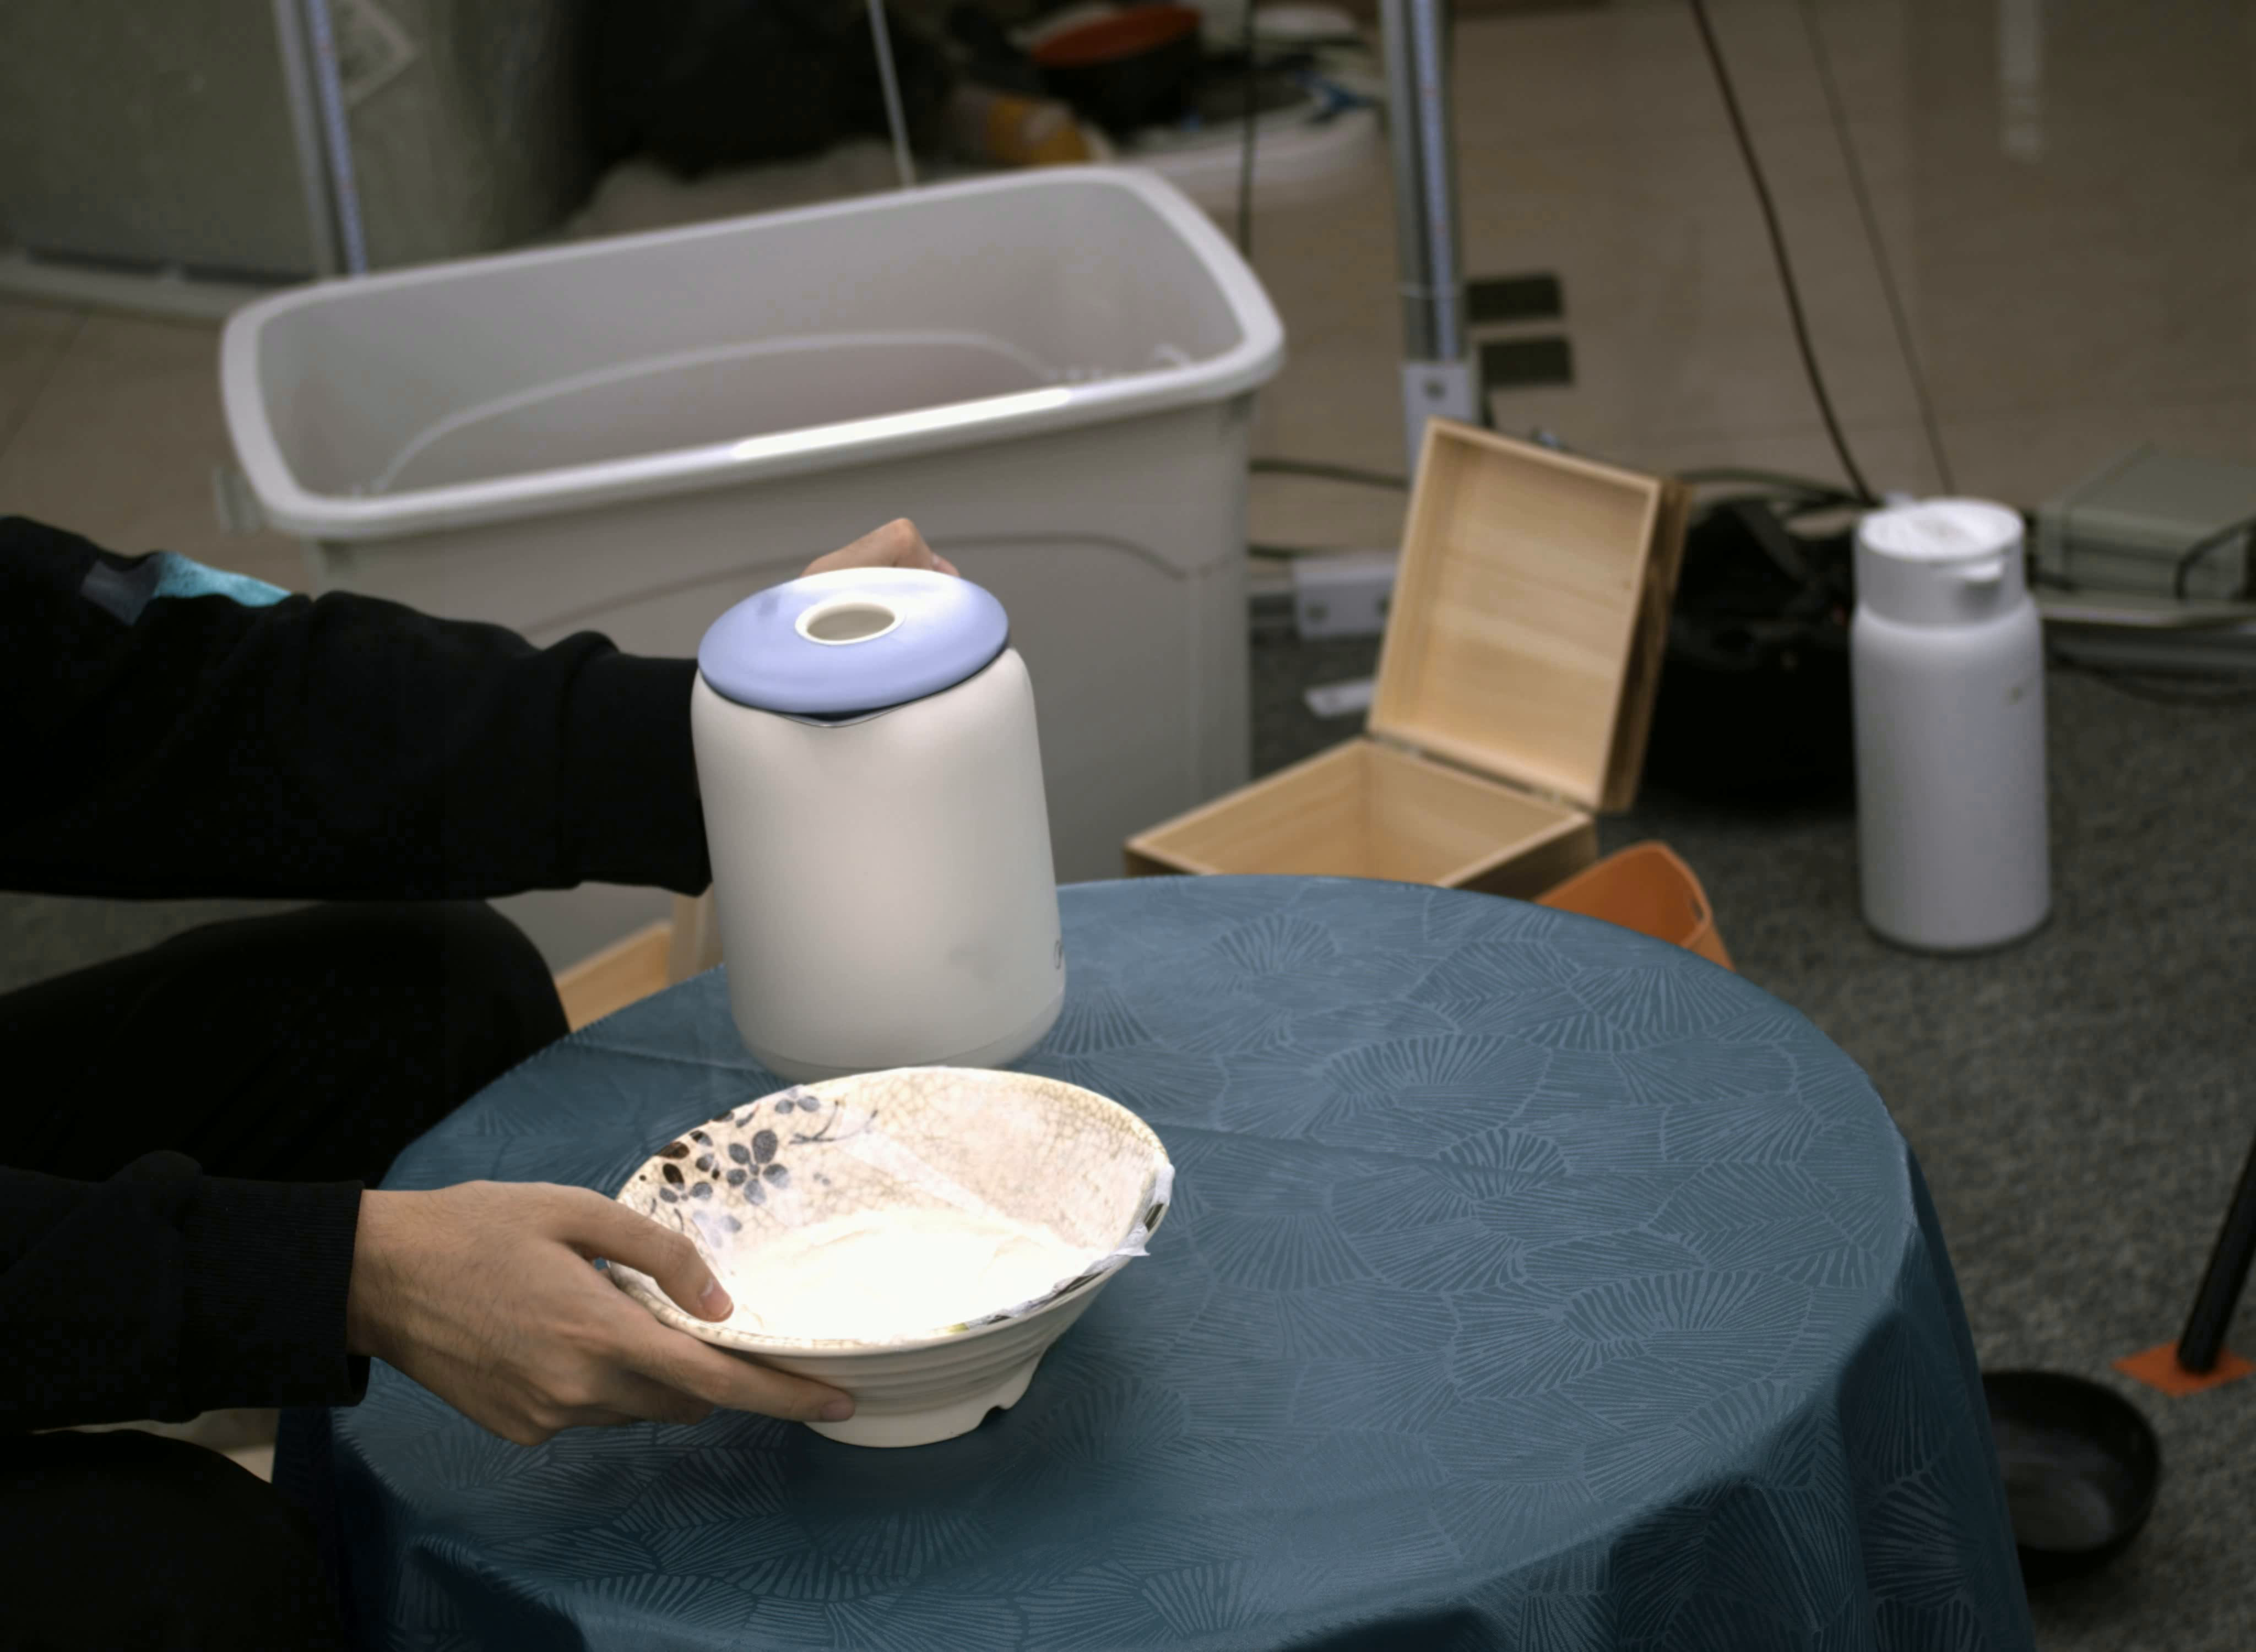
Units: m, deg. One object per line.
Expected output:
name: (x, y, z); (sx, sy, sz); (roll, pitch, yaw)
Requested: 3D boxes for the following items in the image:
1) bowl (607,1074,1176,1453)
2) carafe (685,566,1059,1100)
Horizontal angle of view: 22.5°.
bowl: (-0.078, 0.167, 2.015); (0.204, 0.079, 0.201); (-8, 24, 4)
carafe: (-0.097, -0.008, 2.185); (0.132, 0.185, 0.188); (-3, 25, 3)
